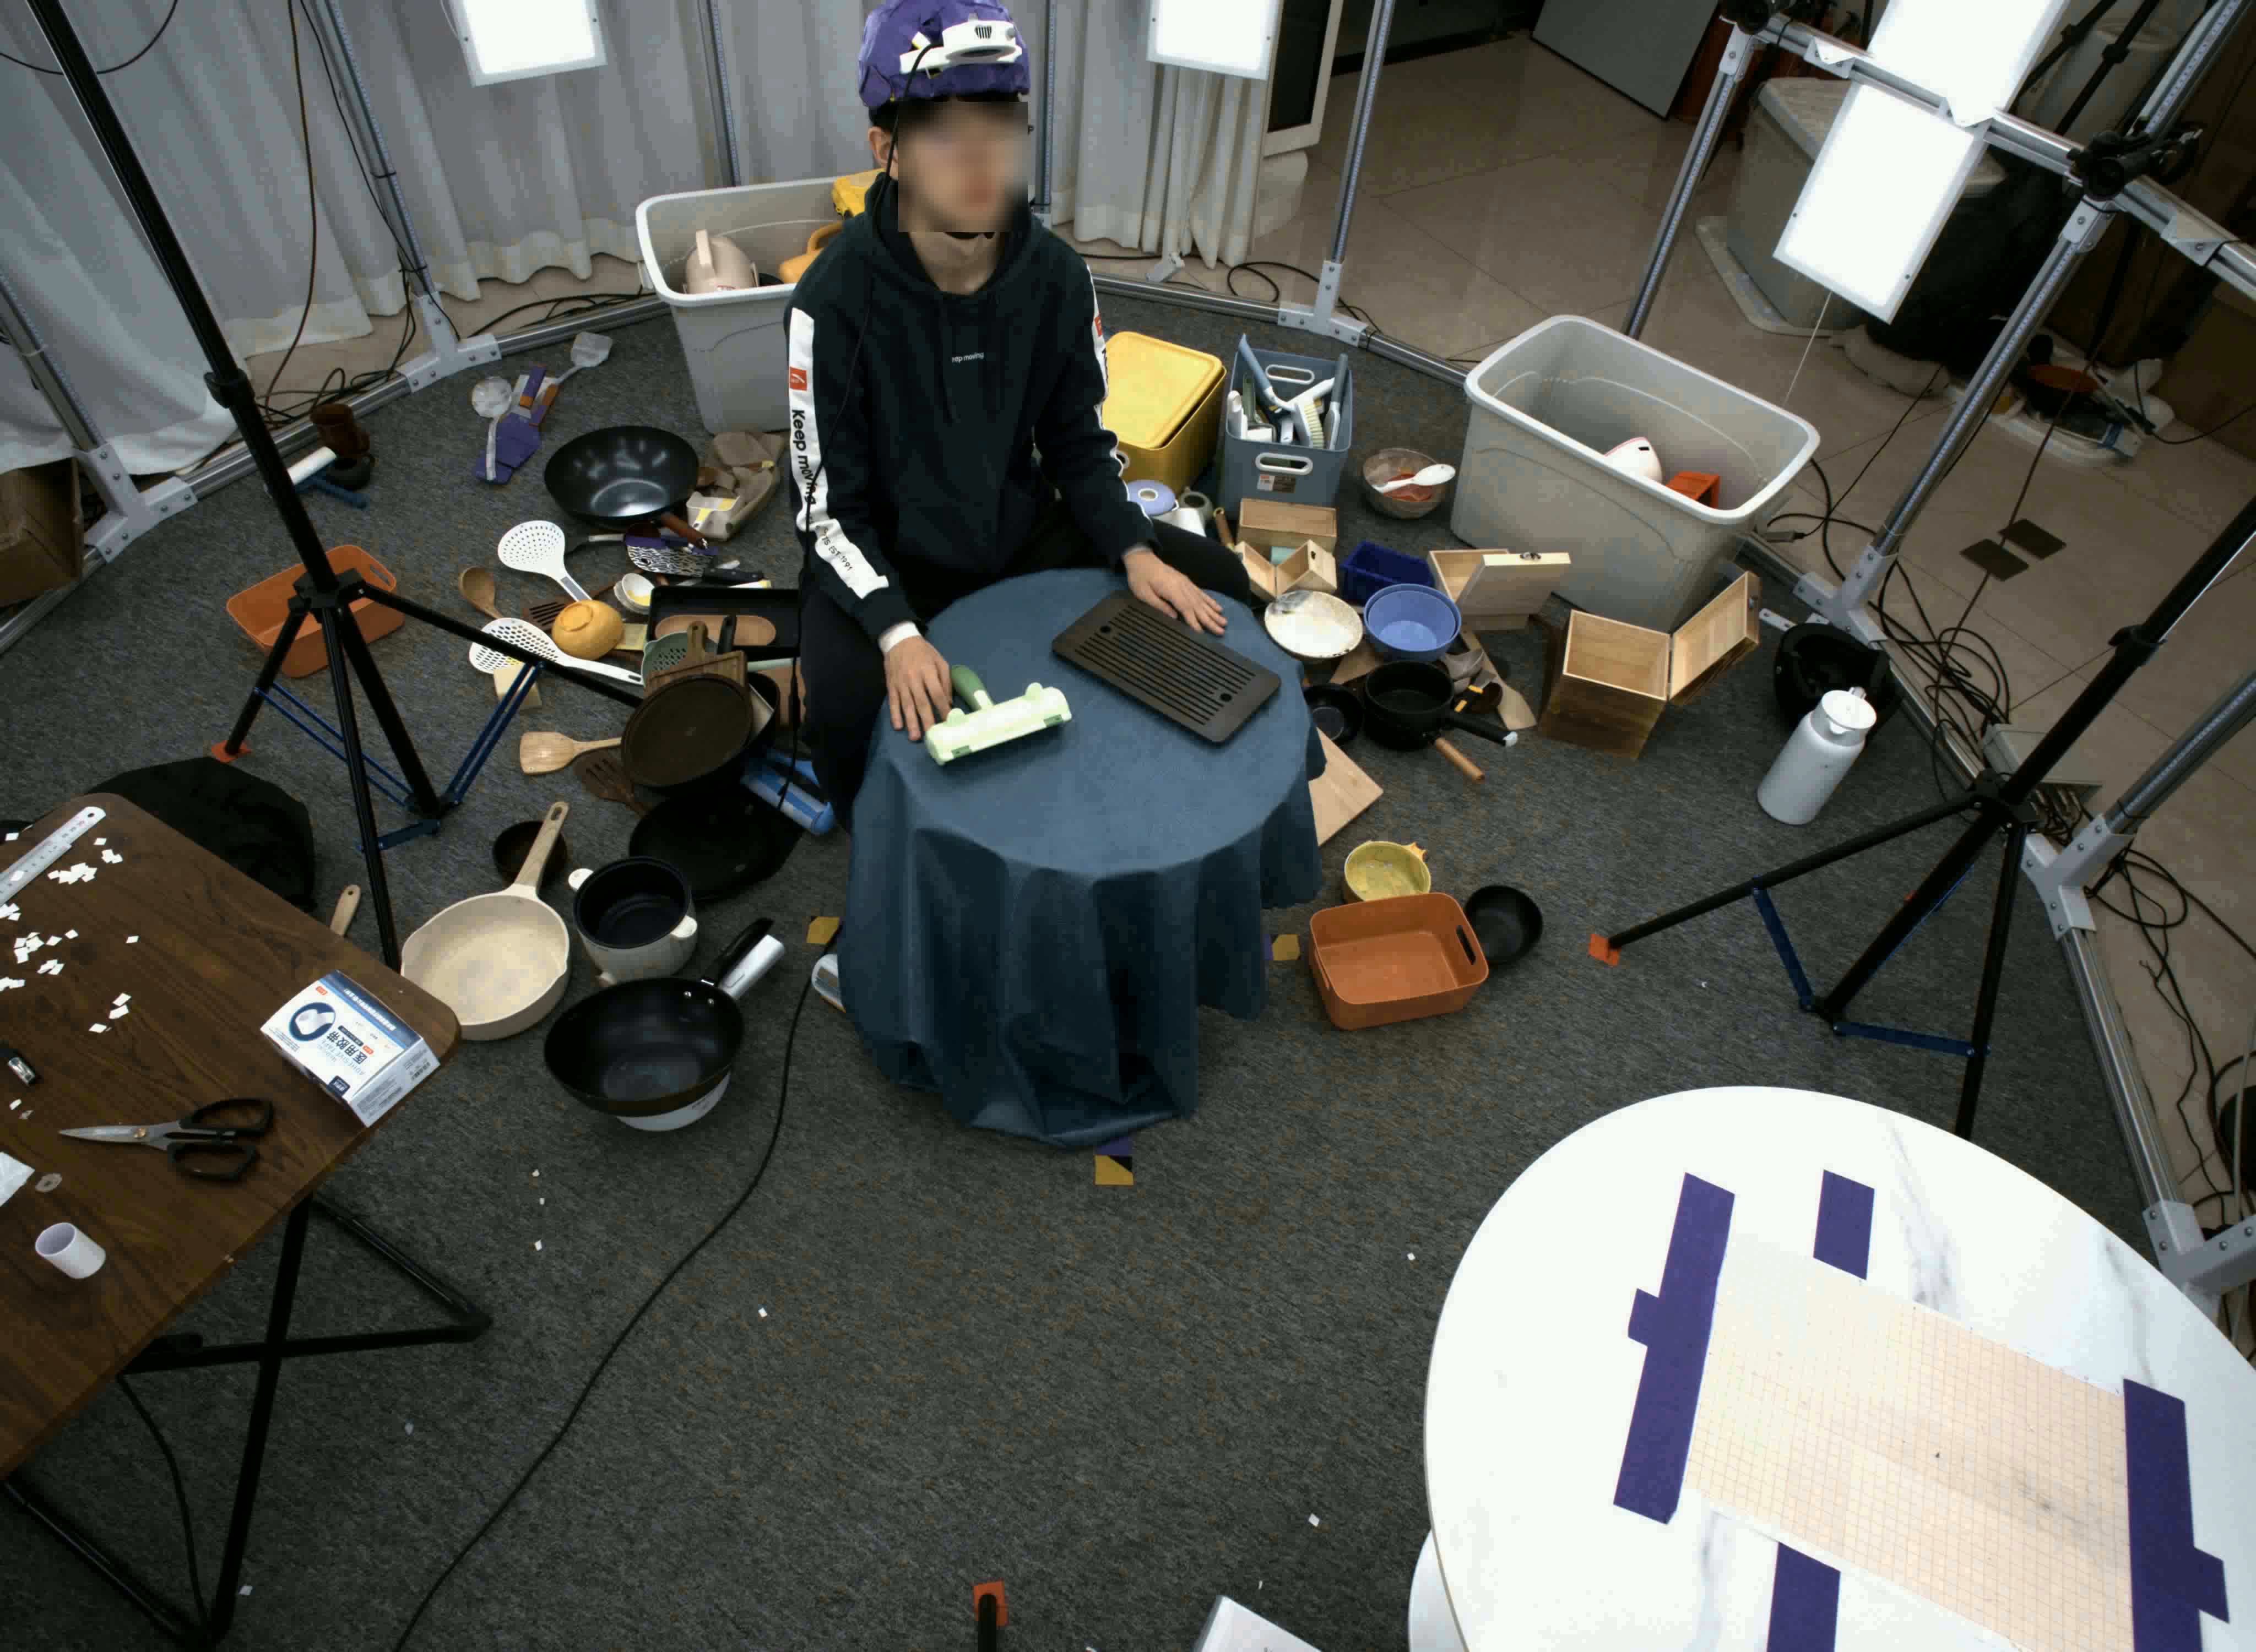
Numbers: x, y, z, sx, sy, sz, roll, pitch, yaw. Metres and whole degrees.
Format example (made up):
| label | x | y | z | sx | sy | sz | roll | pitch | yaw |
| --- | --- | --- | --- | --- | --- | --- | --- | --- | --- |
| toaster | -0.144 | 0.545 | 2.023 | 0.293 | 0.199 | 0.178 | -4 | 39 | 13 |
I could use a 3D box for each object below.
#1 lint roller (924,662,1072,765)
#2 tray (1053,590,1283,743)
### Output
| label | x | y | z | sx | sy | sz | roll | pitch | yaw |
| --- | --- | --- | --- | --- | --- | --- | --- | --- | --- |
| lint roller | -0.201 | -0.181 | 1.760 | 0.199 | 0.080 | 0.187 | -20 | 57 | -20 |
| tray | 0.056 | -0.234 | 1.862 | 0.309 | 0.018 | 0.172 | 32 | 55 | 22 |
